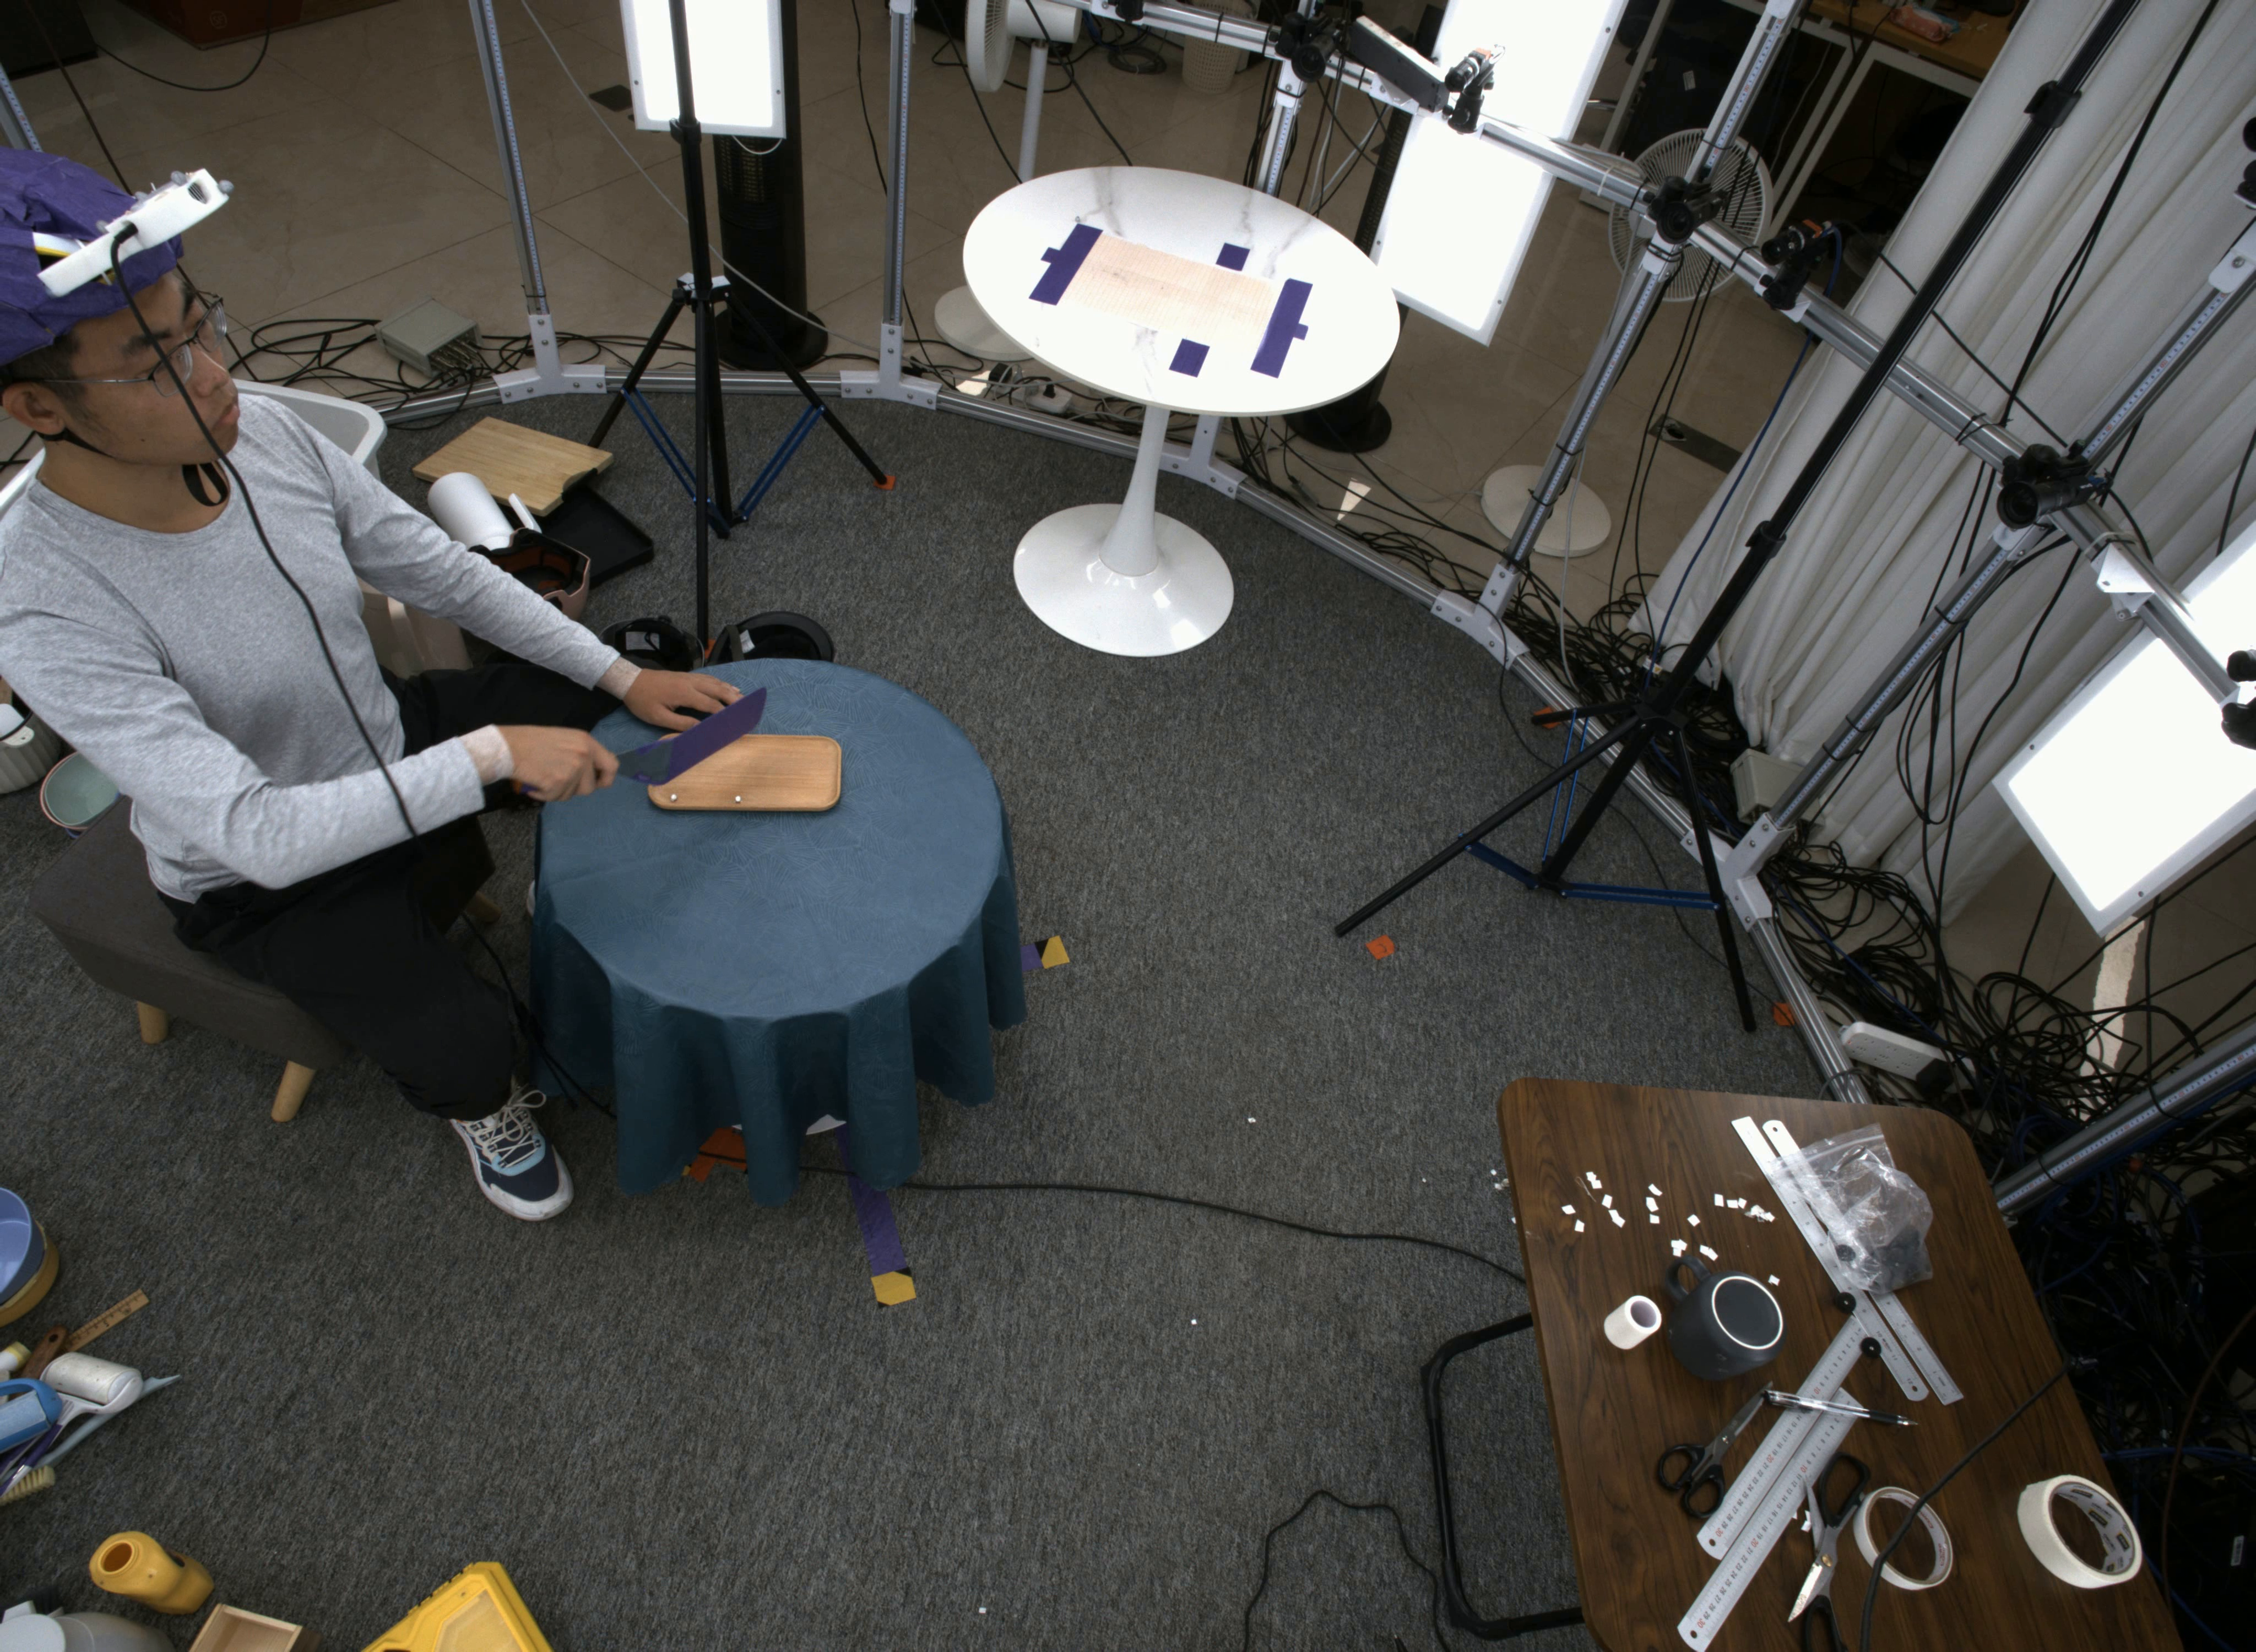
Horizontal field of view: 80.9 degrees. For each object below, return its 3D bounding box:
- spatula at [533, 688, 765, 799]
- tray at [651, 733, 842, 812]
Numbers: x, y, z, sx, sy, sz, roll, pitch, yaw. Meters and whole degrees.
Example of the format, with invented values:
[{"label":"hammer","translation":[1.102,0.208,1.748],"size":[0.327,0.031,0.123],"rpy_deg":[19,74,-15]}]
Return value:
[{"label":"spatula","translation":[-0.590,-0.101,1.573],"size":[0.364,0.076,0.084],"rpy_deg":[-13,50,-42]},{"label":"tray","translation":[-0.513,-0.073,1.746],"size":[0.251,0.023,0.128],"rpy_deg":[1,57,-14]}]
